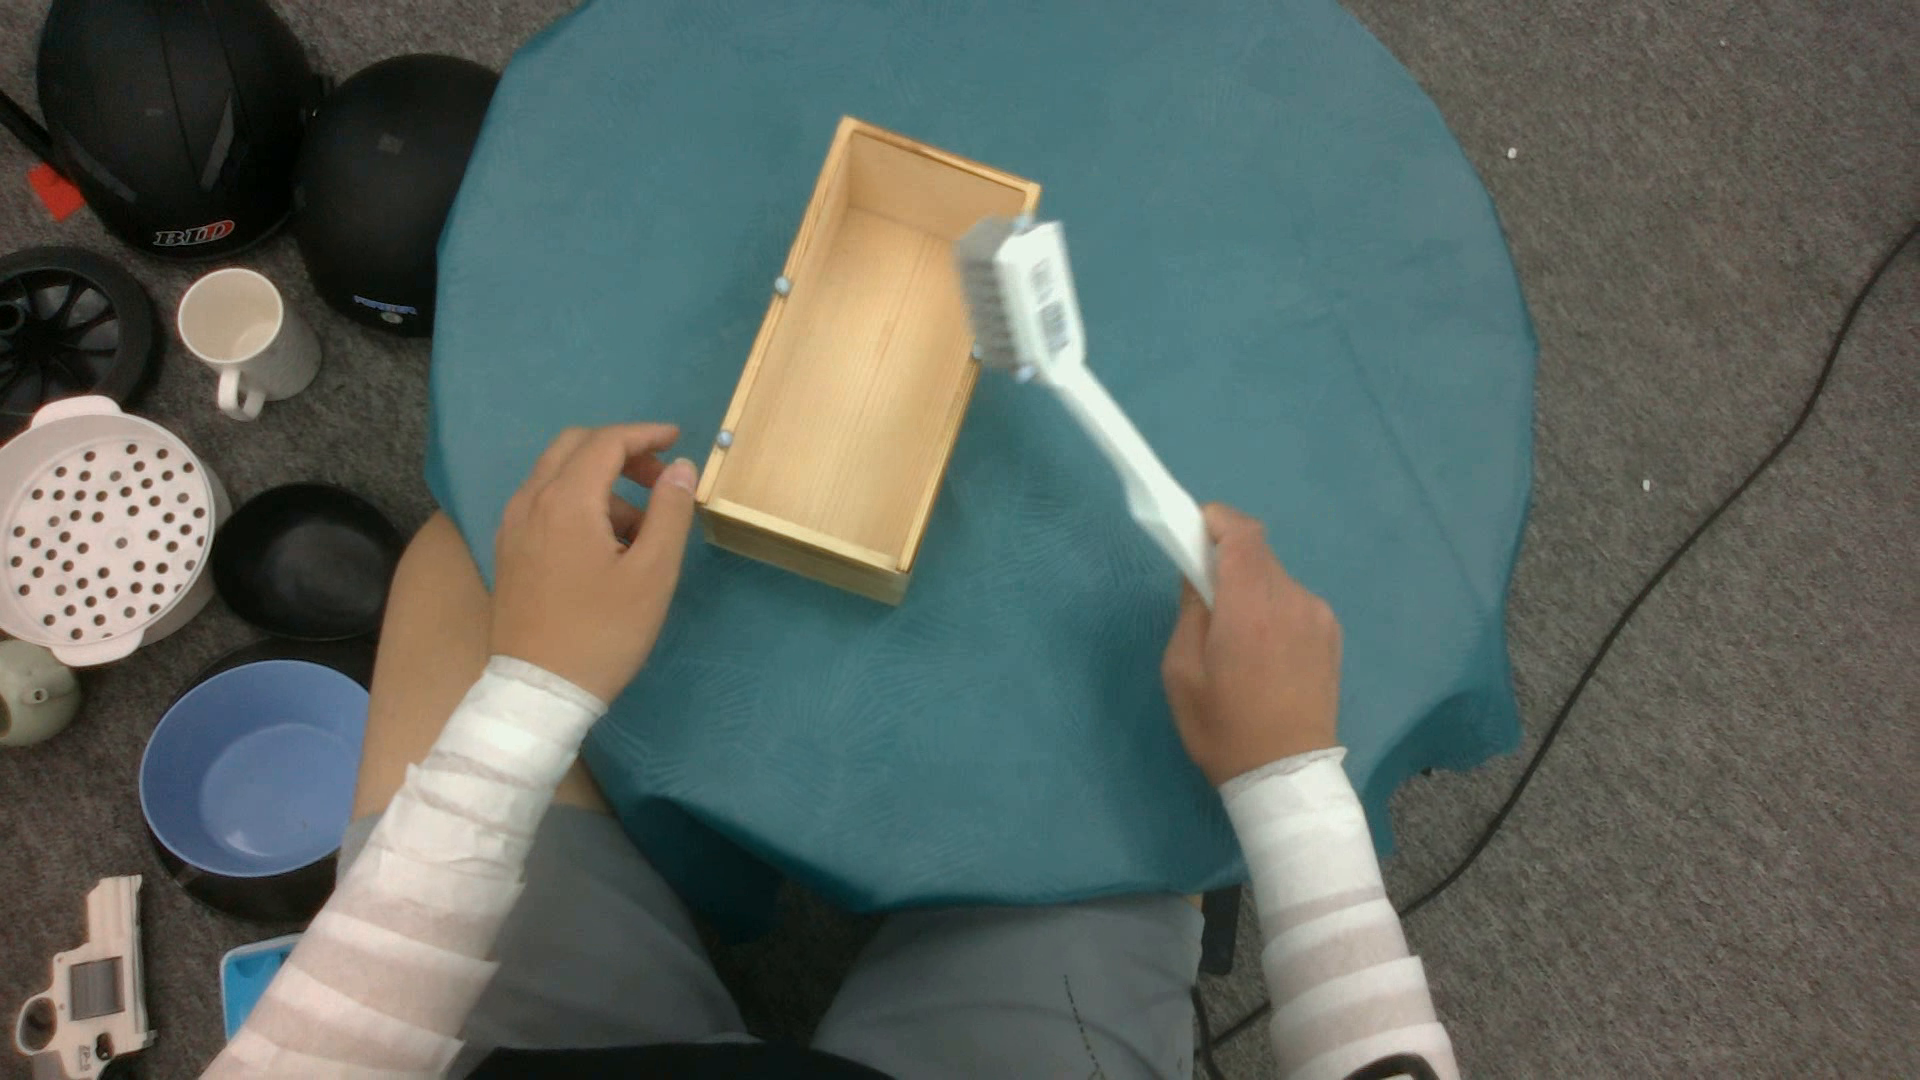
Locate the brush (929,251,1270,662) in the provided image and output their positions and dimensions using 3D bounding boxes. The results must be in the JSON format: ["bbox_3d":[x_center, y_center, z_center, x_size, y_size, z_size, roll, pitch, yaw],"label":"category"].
[{"bbox_3d":[0.066,-0.031,0.640,0.243,0.050,0.034,52,51,-22],"label":"brush"}]

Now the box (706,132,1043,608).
[{"bbox_3d":[-0.042,-0.086,0.708,0.107,0.080,0.212,18,75,-2],"label":"box"}]
